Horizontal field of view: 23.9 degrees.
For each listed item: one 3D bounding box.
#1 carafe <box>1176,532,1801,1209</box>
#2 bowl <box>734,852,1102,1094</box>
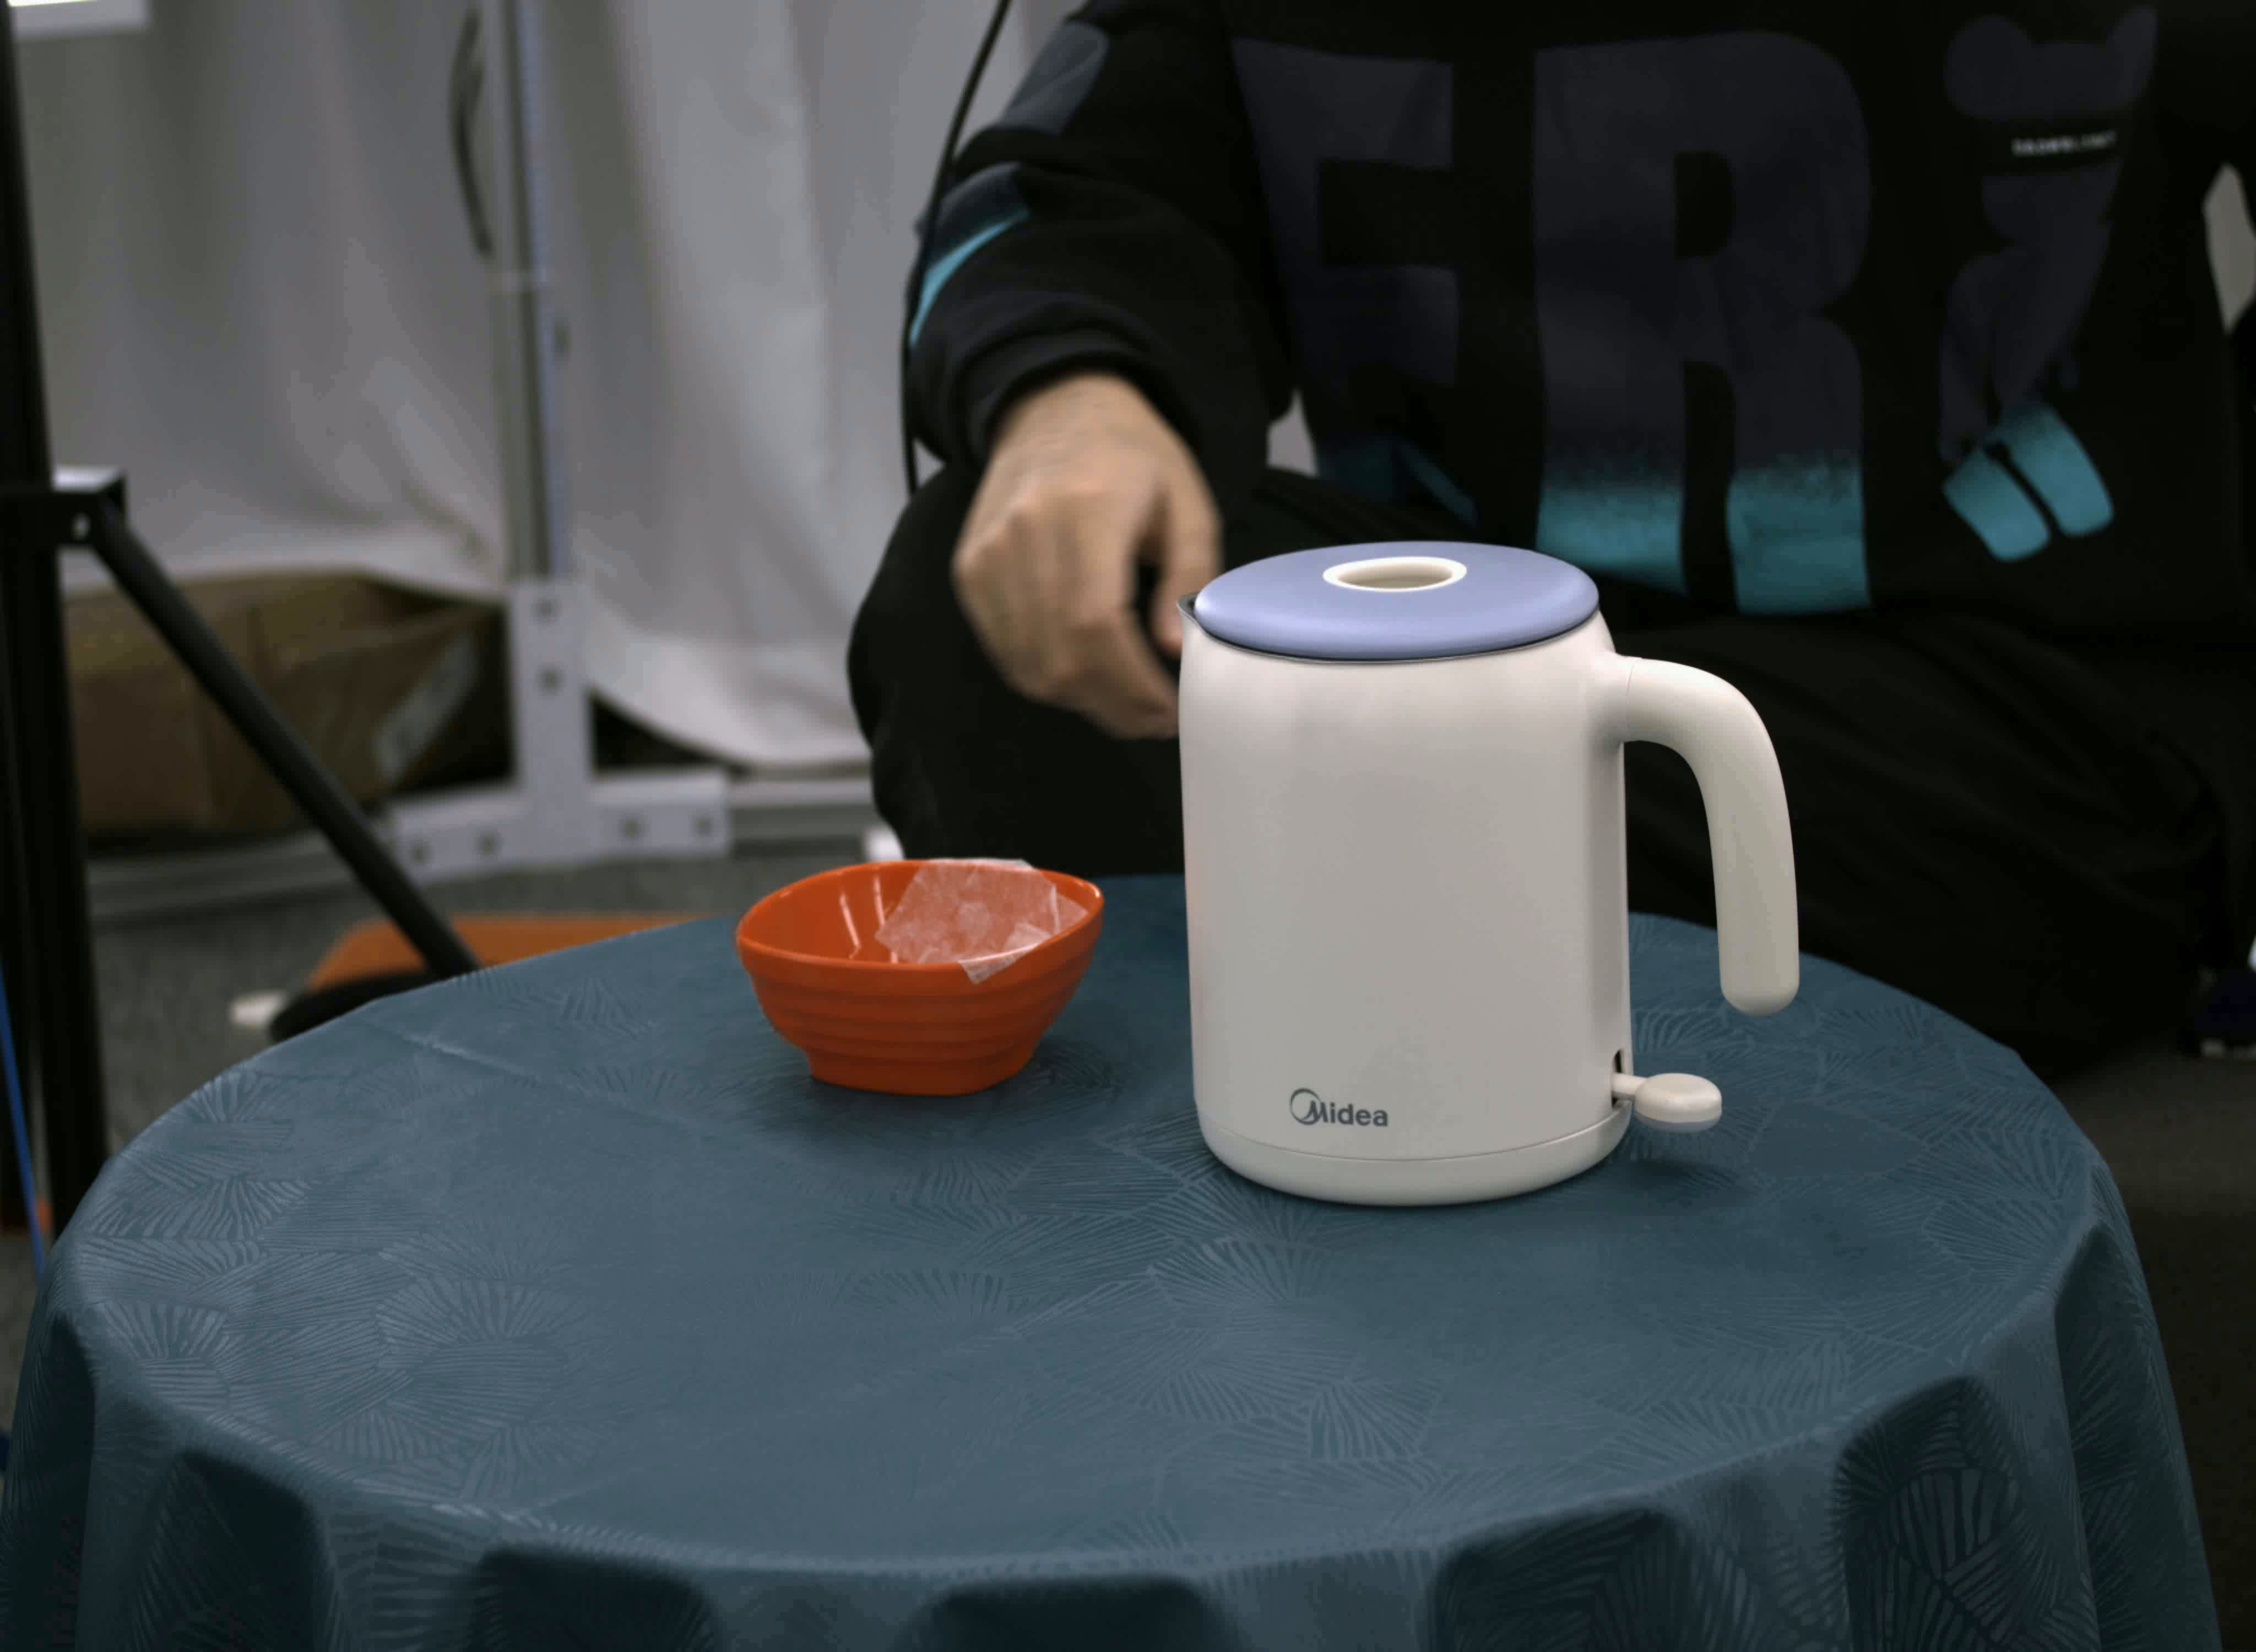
[{"bbox_3d":[0.105,0.015,1.558,0.193,0.182,0.130,6,19,21],"label":"carafe"},{"bbox_3d":[-0.064,0.049,1.679,0.118,0.051,0.119,-5,17,0],"label":"bowl"}]
